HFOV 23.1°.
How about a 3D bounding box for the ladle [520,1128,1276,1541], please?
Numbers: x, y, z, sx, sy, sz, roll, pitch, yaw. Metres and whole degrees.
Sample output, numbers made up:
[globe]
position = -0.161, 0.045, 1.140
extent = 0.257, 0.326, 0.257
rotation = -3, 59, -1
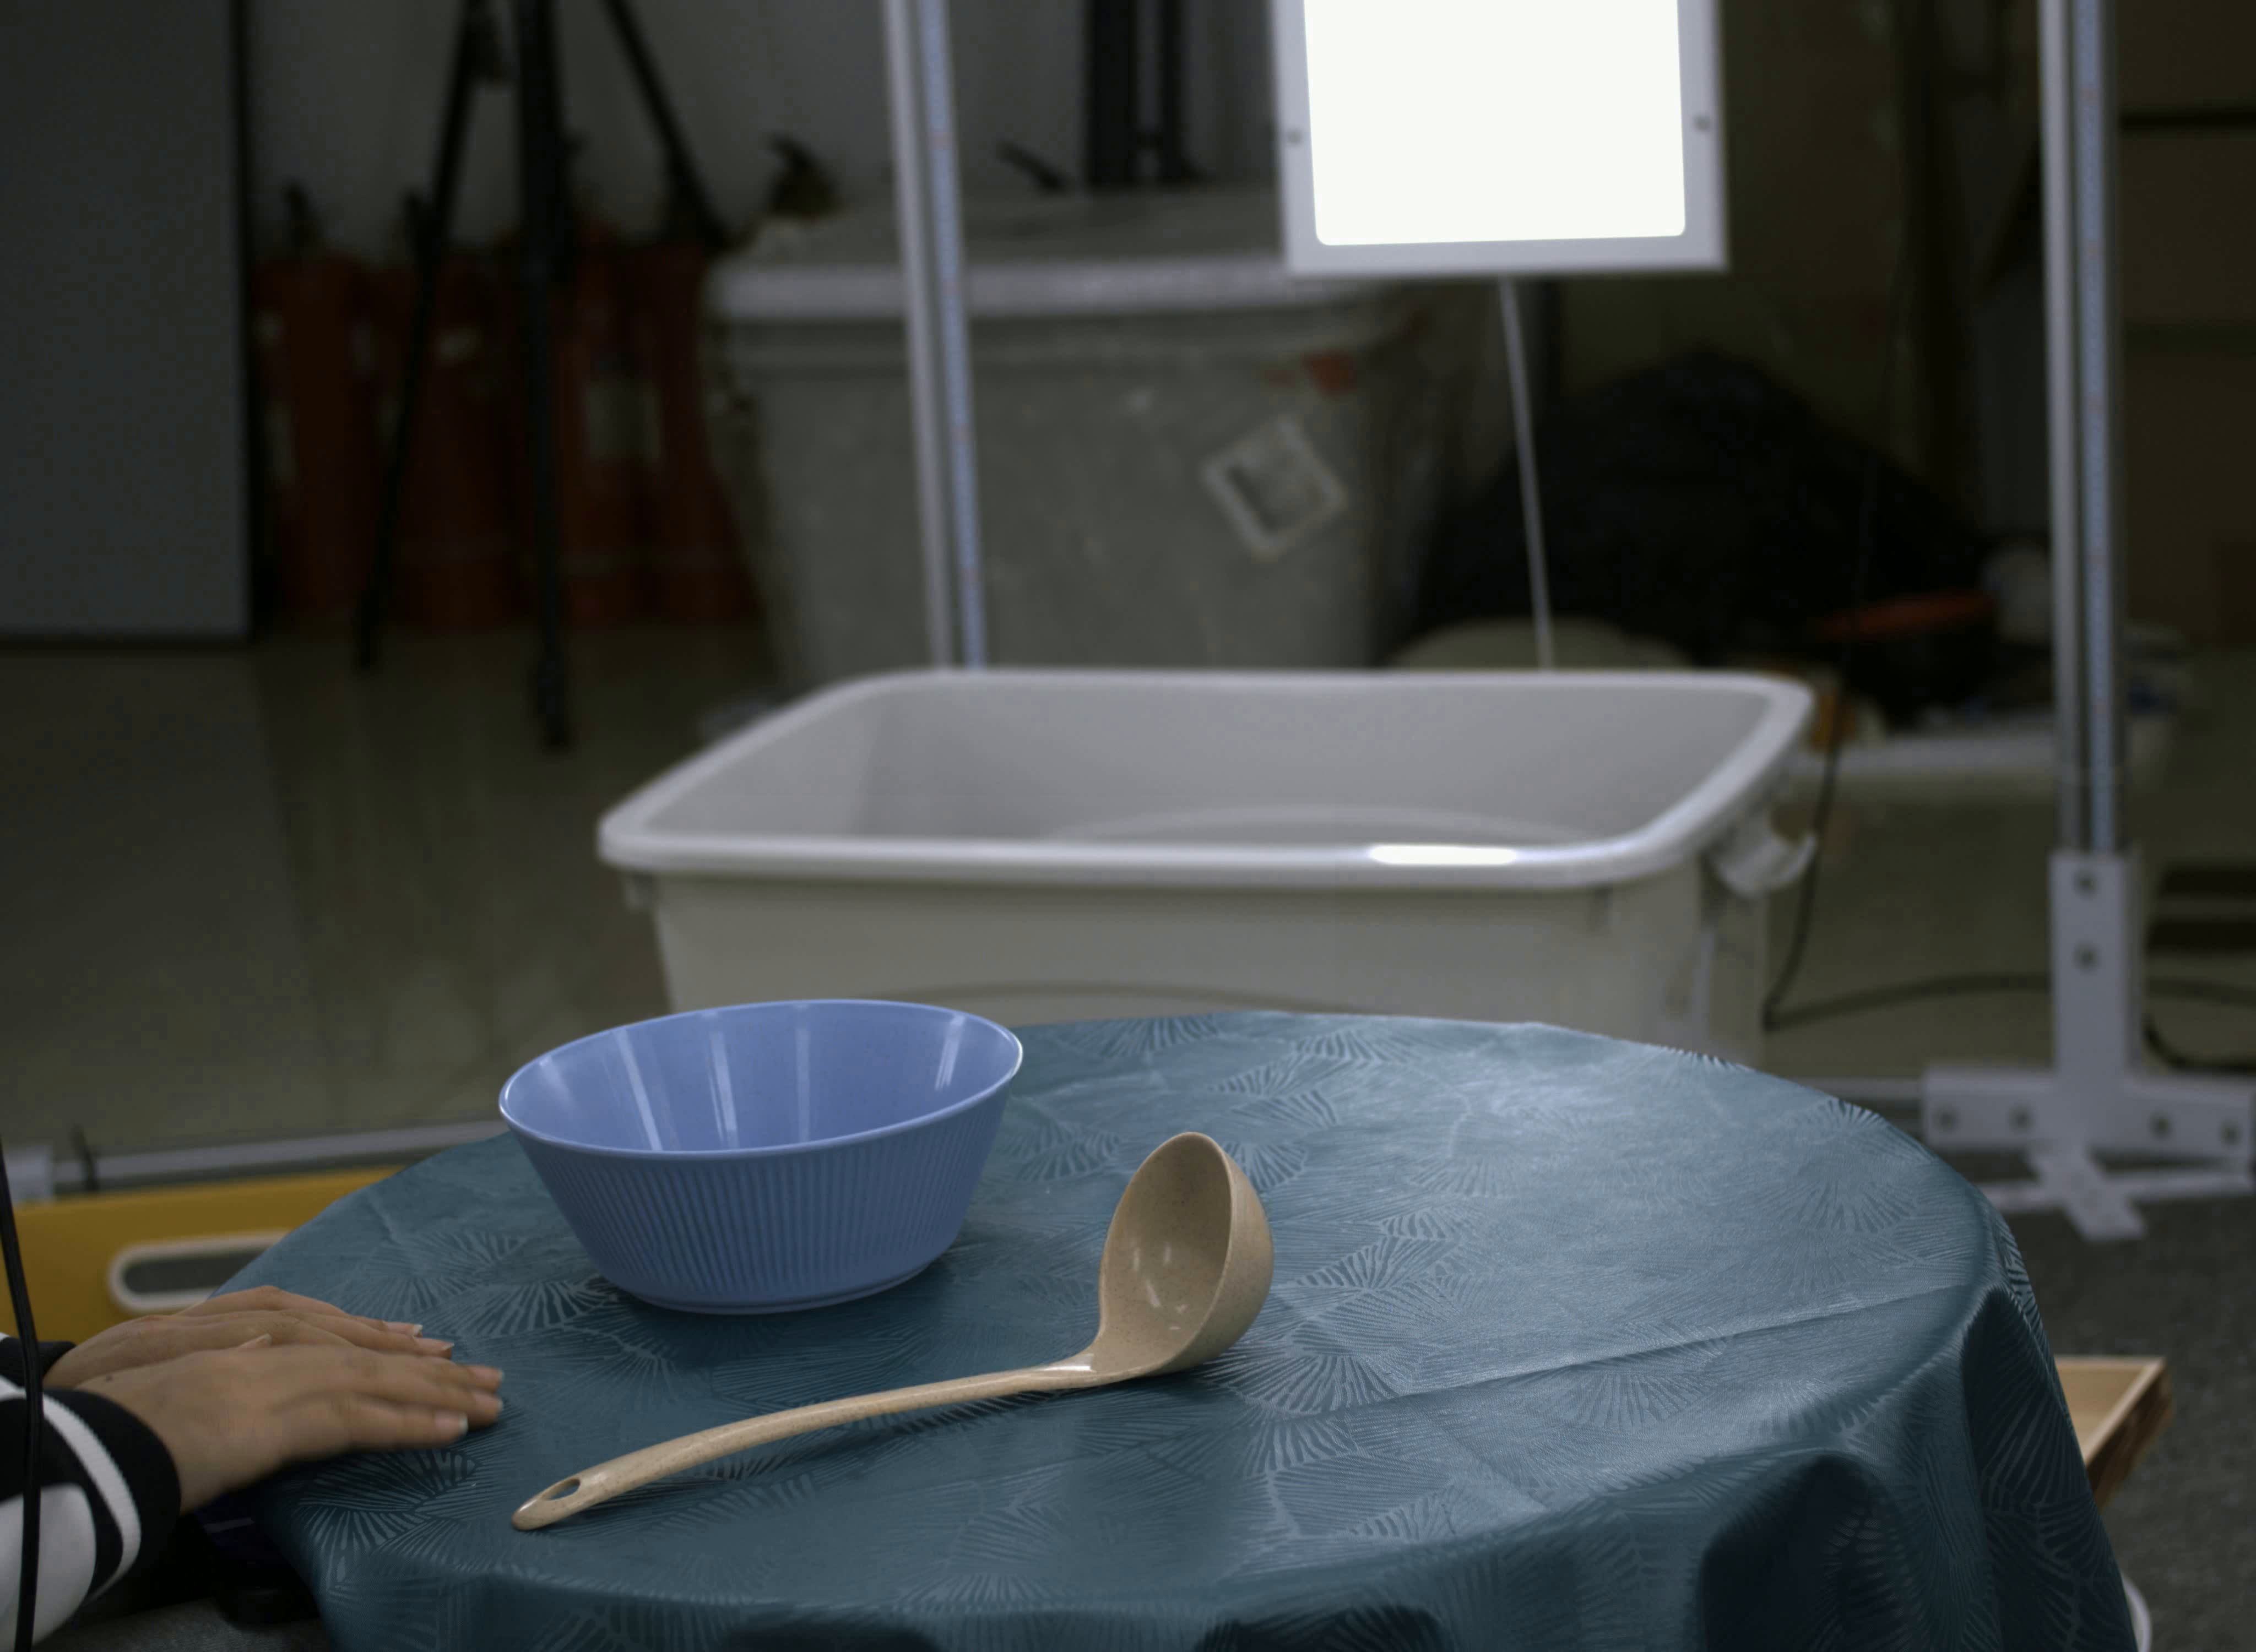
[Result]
[ladle]
position = -0.071, 0.151, 1.672
extent = 0.249, 0.073, 0.073
rotation = -12, 19, -27

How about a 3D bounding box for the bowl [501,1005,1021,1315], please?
[bowl]
position = -0.120, 0.114, 1.846
extent = 0.175, 0.070, 0.176
rotation = -5, 13, 0
